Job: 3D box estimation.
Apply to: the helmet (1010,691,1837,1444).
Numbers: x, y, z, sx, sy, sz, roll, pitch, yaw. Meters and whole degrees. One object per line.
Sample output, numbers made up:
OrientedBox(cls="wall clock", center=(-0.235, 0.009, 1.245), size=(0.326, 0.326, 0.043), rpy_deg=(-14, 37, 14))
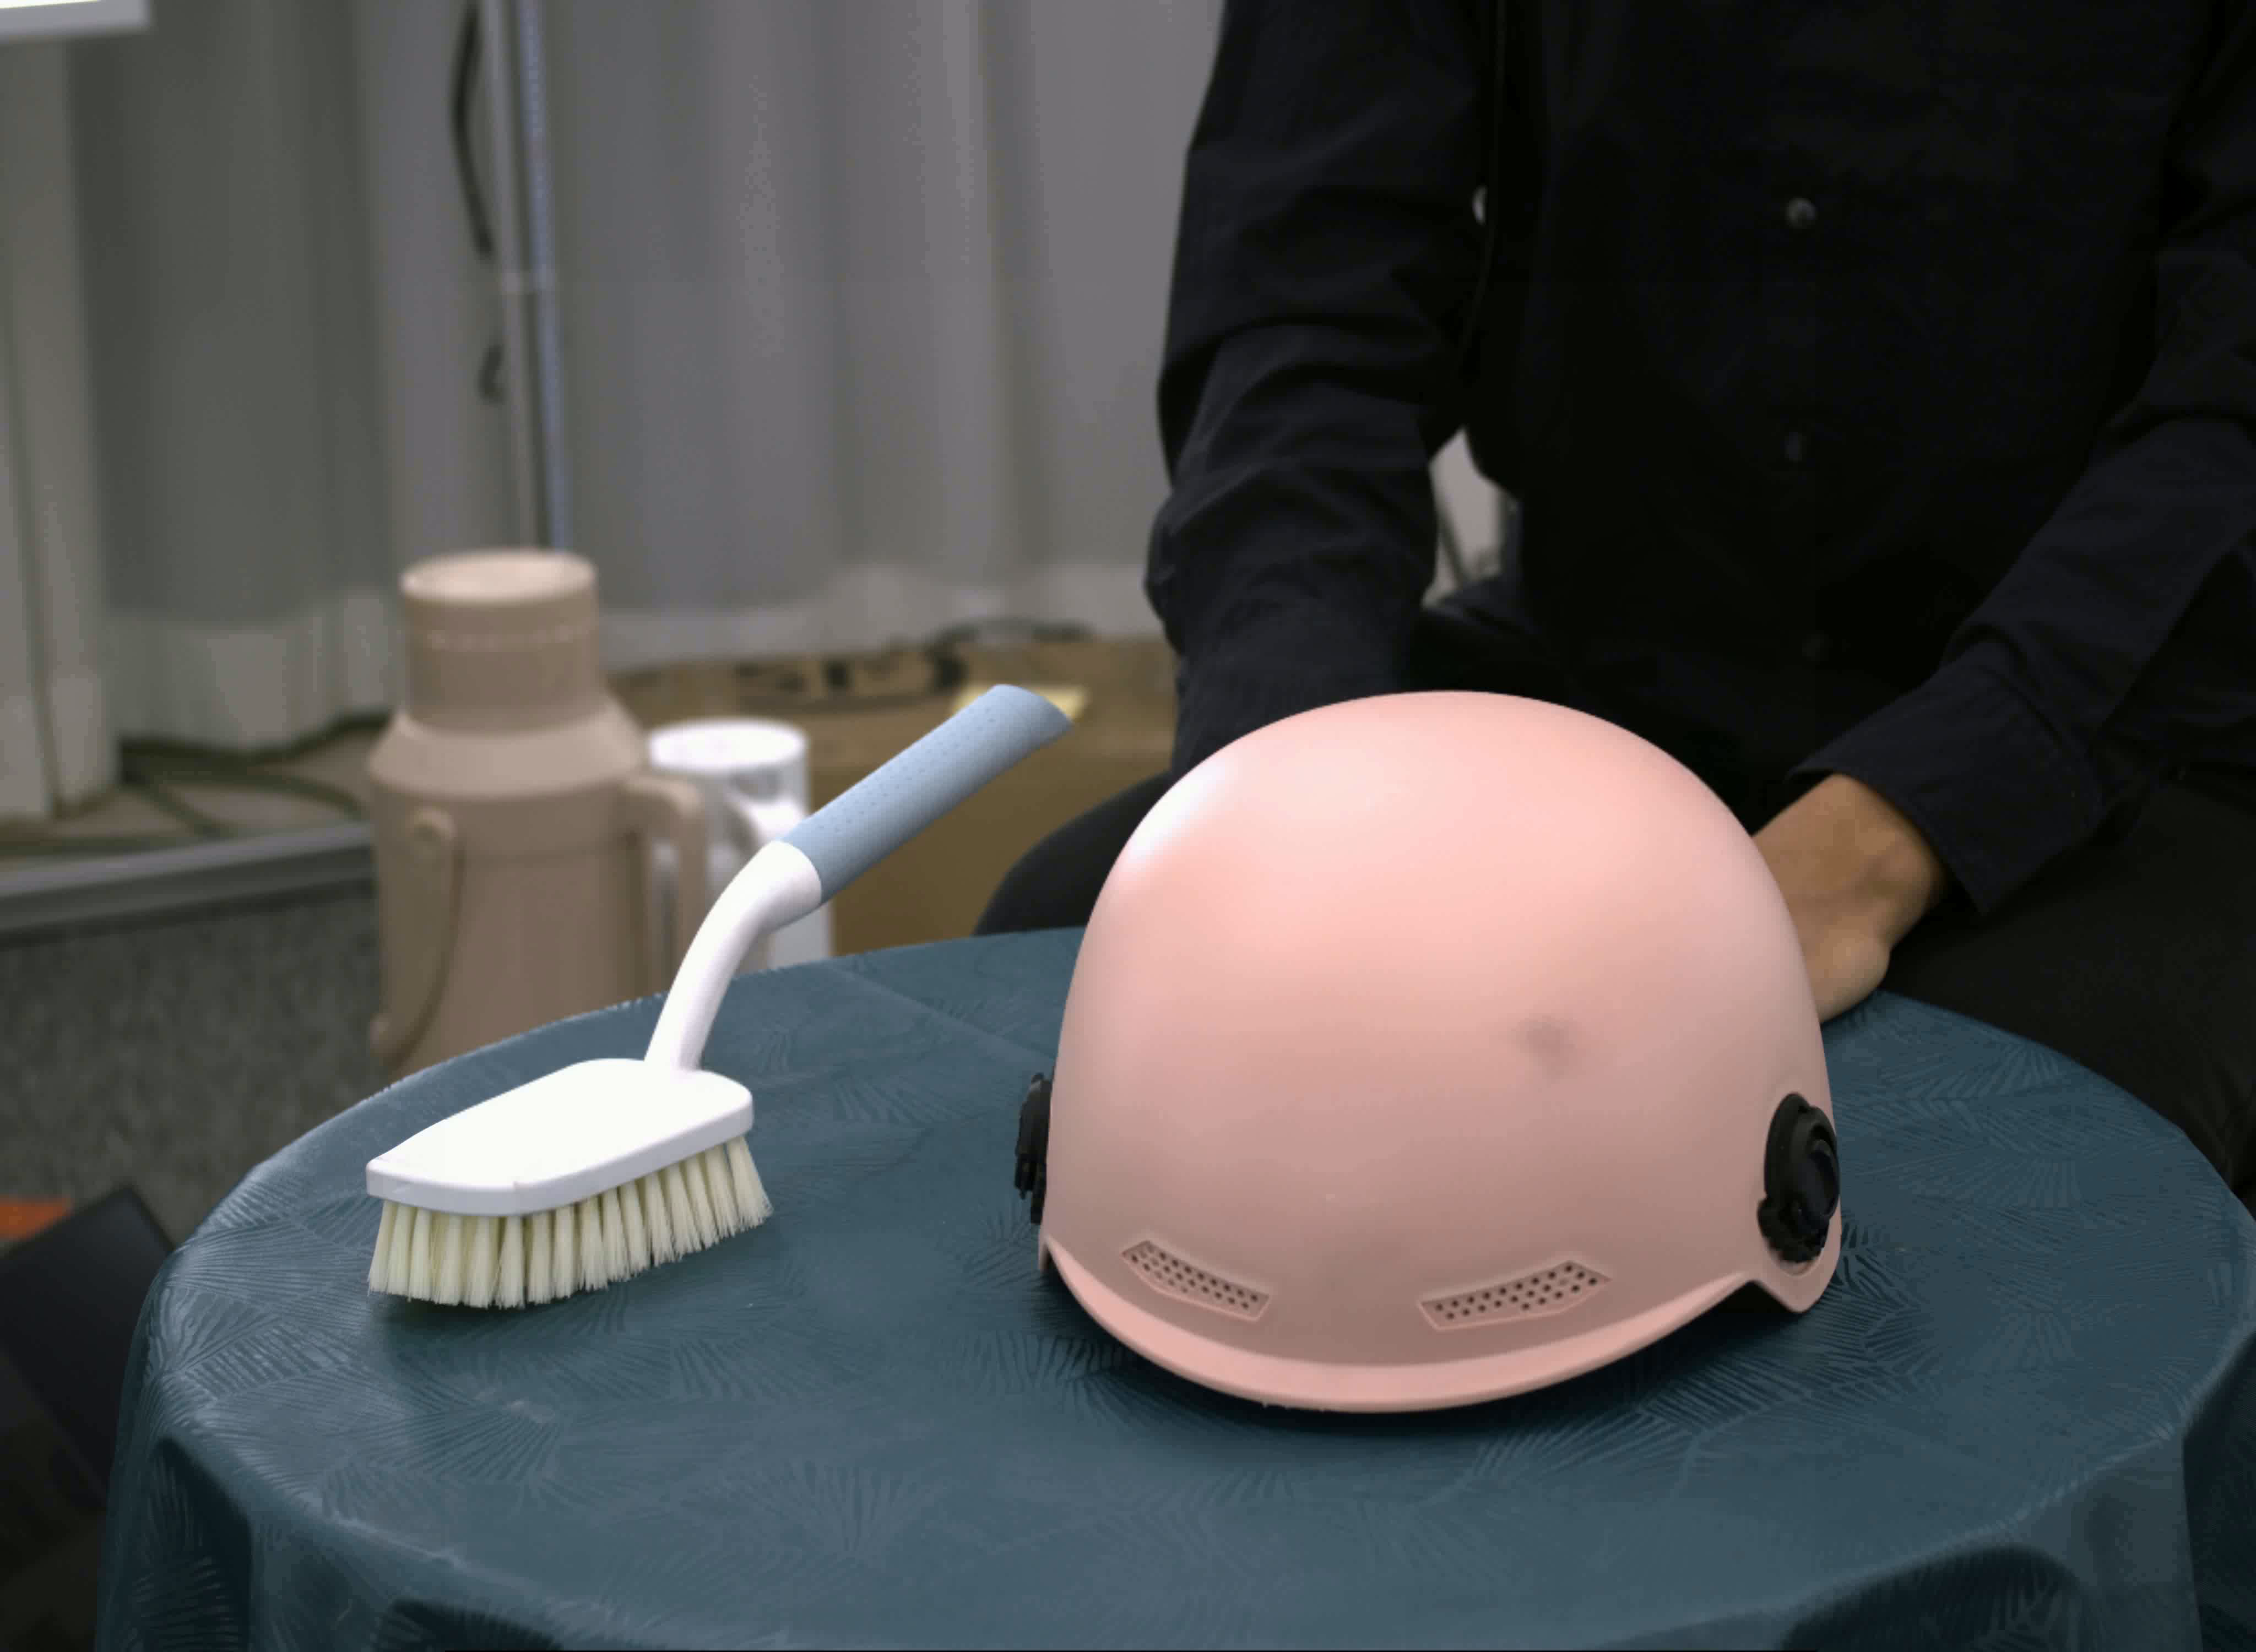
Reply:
OrientedBox(cls="helmet", center=(0.083, 0.051, 1.477), size=(0.236, 0.158, 0.264), rpy_deg=(2, 21, 15))

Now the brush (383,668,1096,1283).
OrientedBox(cls="brush", center=(-0.102, 0.059, 1.601), size=(0.084, 0.085, 0.320), rpy_deg=(41, 46, 13))
